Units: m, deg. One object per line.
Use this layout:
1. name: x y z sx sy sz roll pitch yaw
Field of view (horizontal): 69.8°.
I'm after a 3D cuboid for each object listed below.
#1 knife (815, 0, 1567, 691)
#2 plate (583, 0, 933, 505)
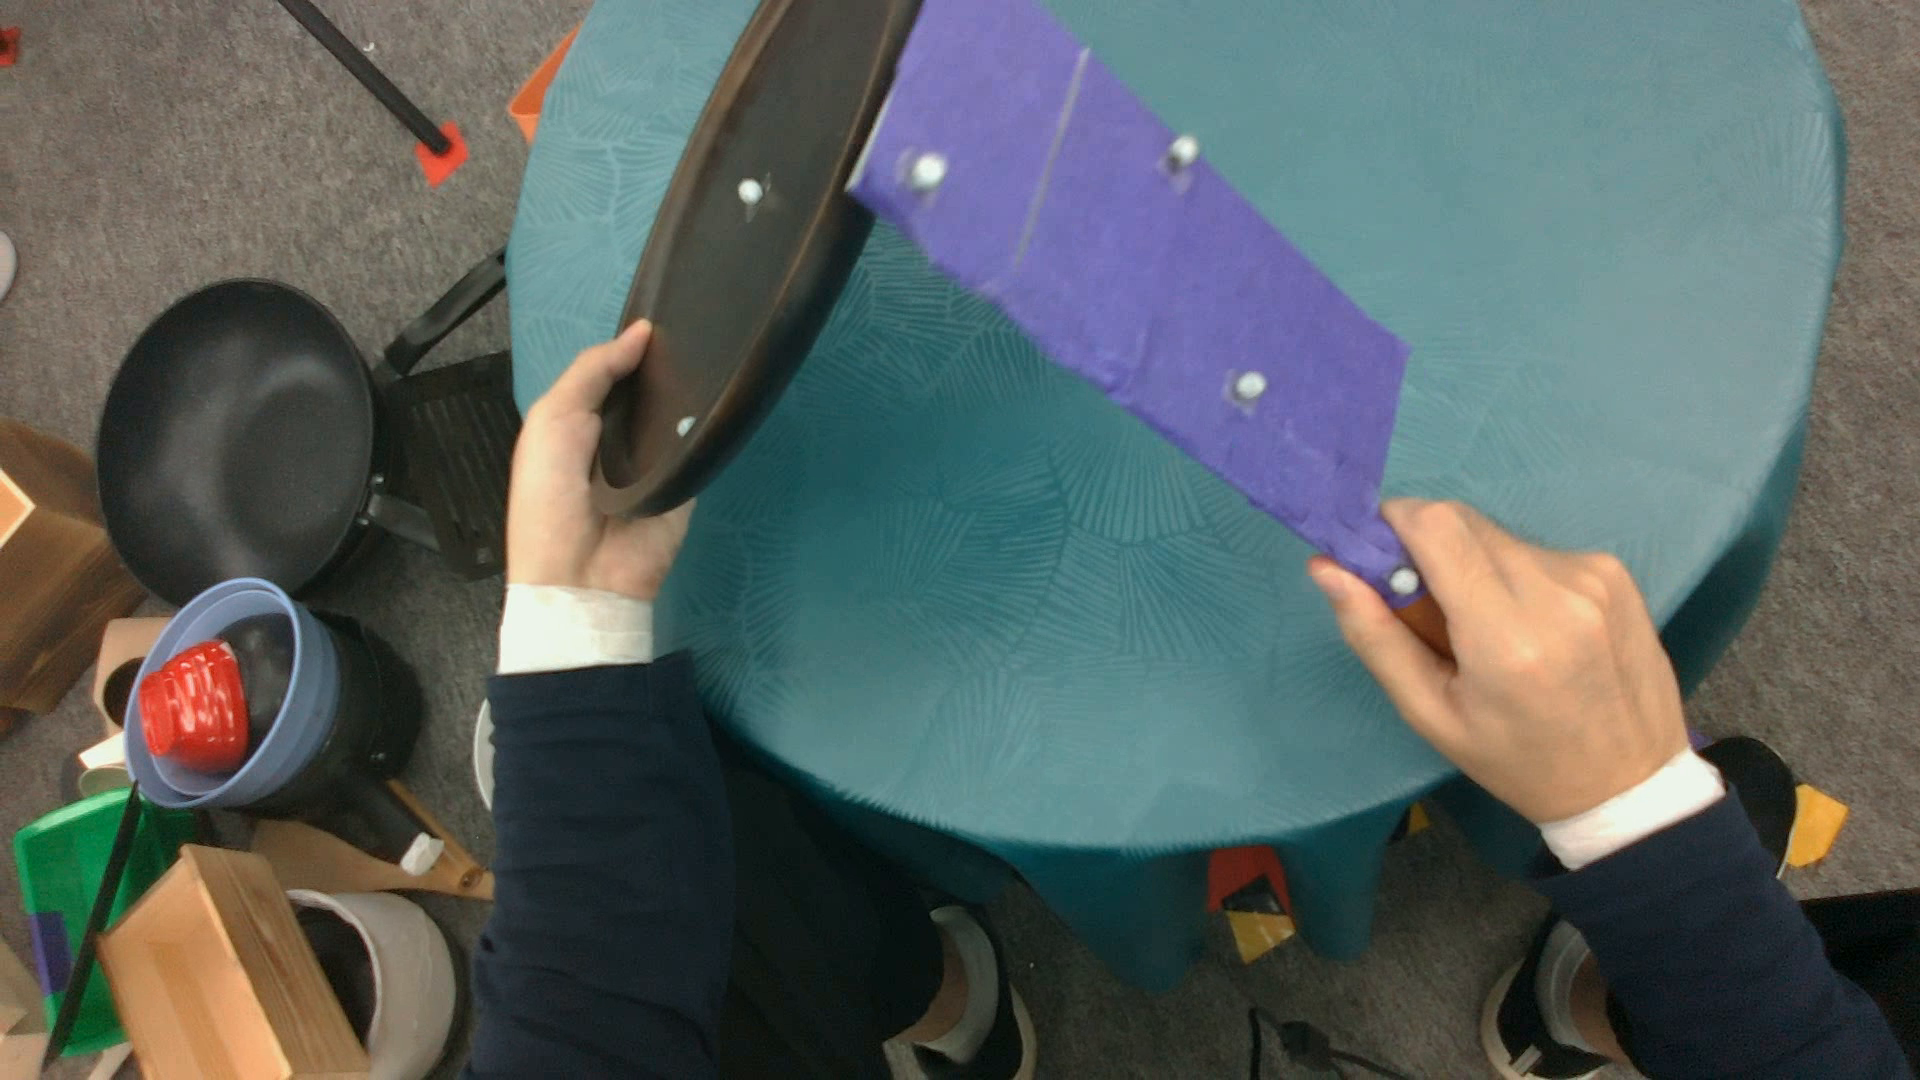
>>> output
1. knife: 0.096 -0.054 0.430 0.032 0.315 0.104 -15 51 51
2. plate: -0.081 -0.130 0.513 0.029 0.254 0.255 24 78 -27
